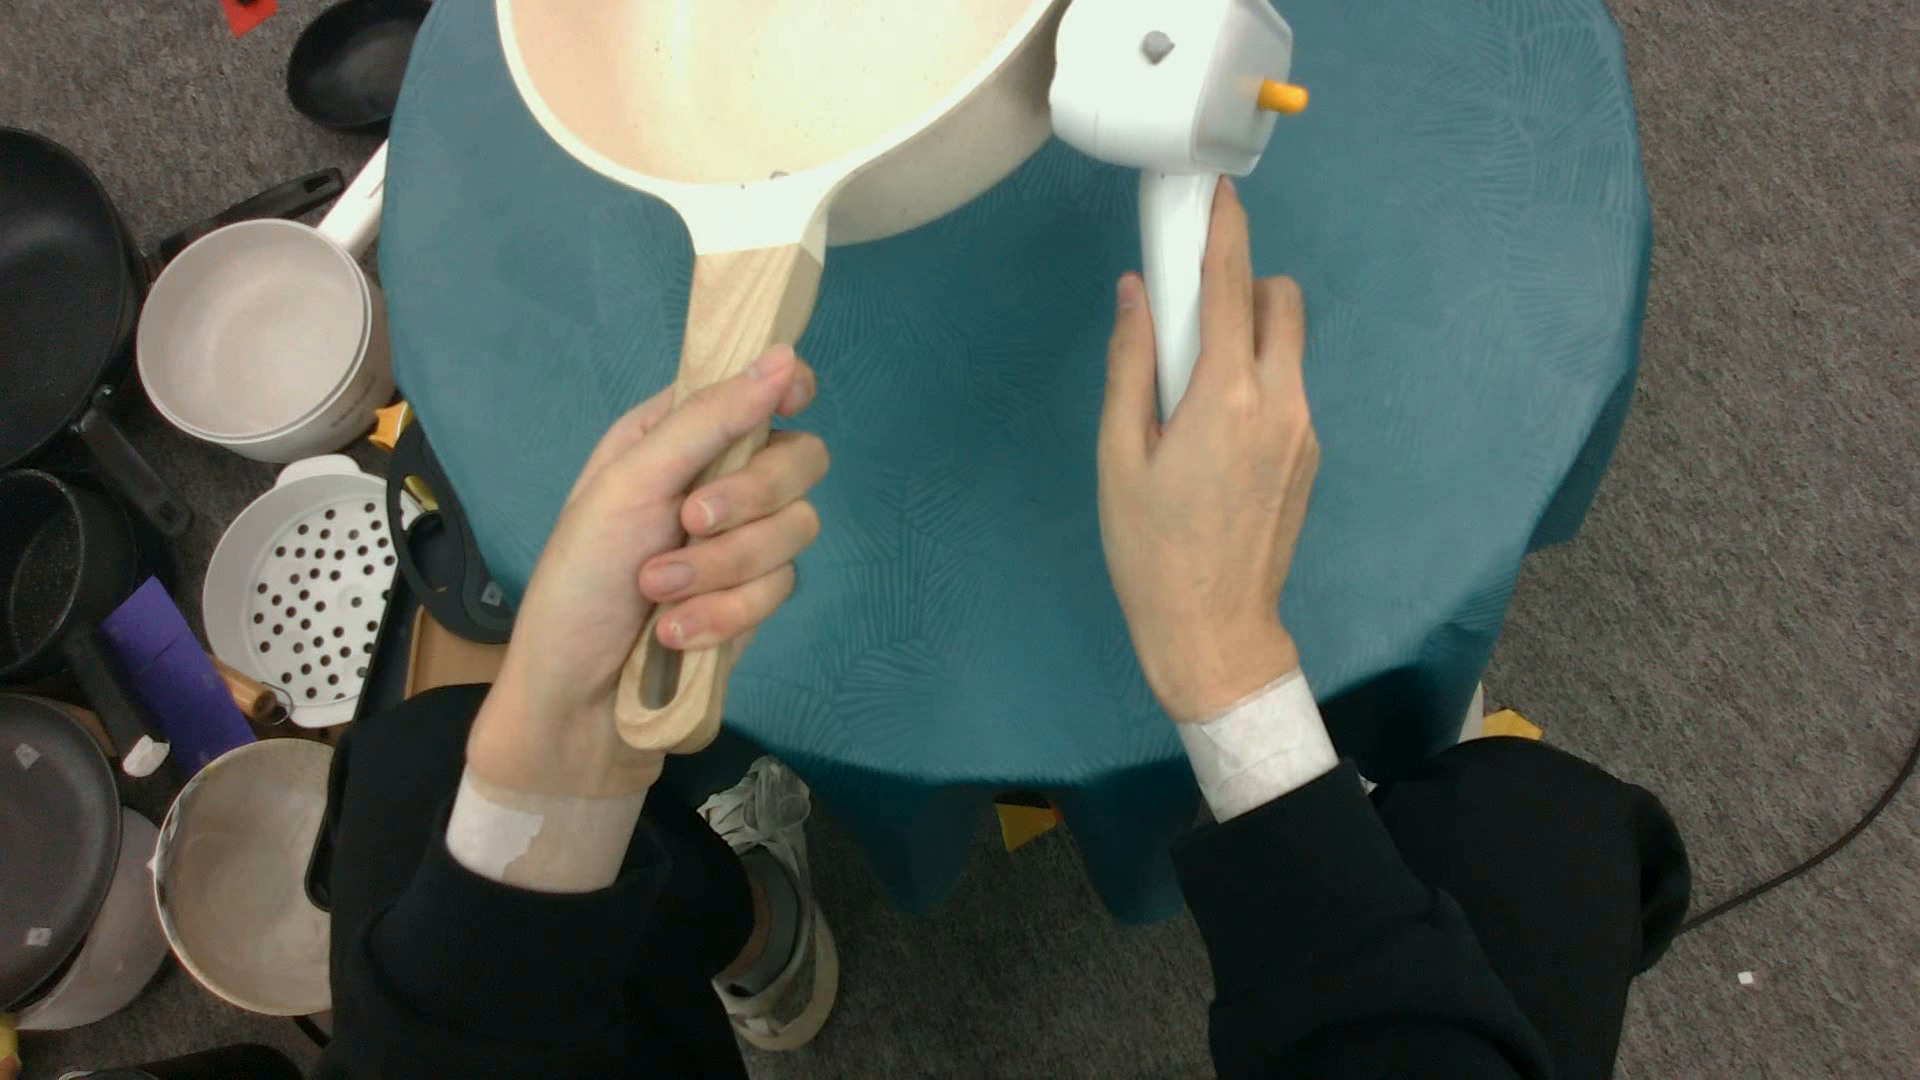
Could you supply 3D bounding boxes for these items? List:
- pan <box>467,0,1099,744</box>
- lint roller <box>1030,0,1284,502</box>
[{"bbox_3d":[-0.064,-0.143,0.493,0.263,0.102,0.436,-2,76,19],"label":"pan"},{"bbox_3d":[0.074,-0.109,0.501,0.074,0.193,0.192,8,108,12],"label":"lint roller"}]
